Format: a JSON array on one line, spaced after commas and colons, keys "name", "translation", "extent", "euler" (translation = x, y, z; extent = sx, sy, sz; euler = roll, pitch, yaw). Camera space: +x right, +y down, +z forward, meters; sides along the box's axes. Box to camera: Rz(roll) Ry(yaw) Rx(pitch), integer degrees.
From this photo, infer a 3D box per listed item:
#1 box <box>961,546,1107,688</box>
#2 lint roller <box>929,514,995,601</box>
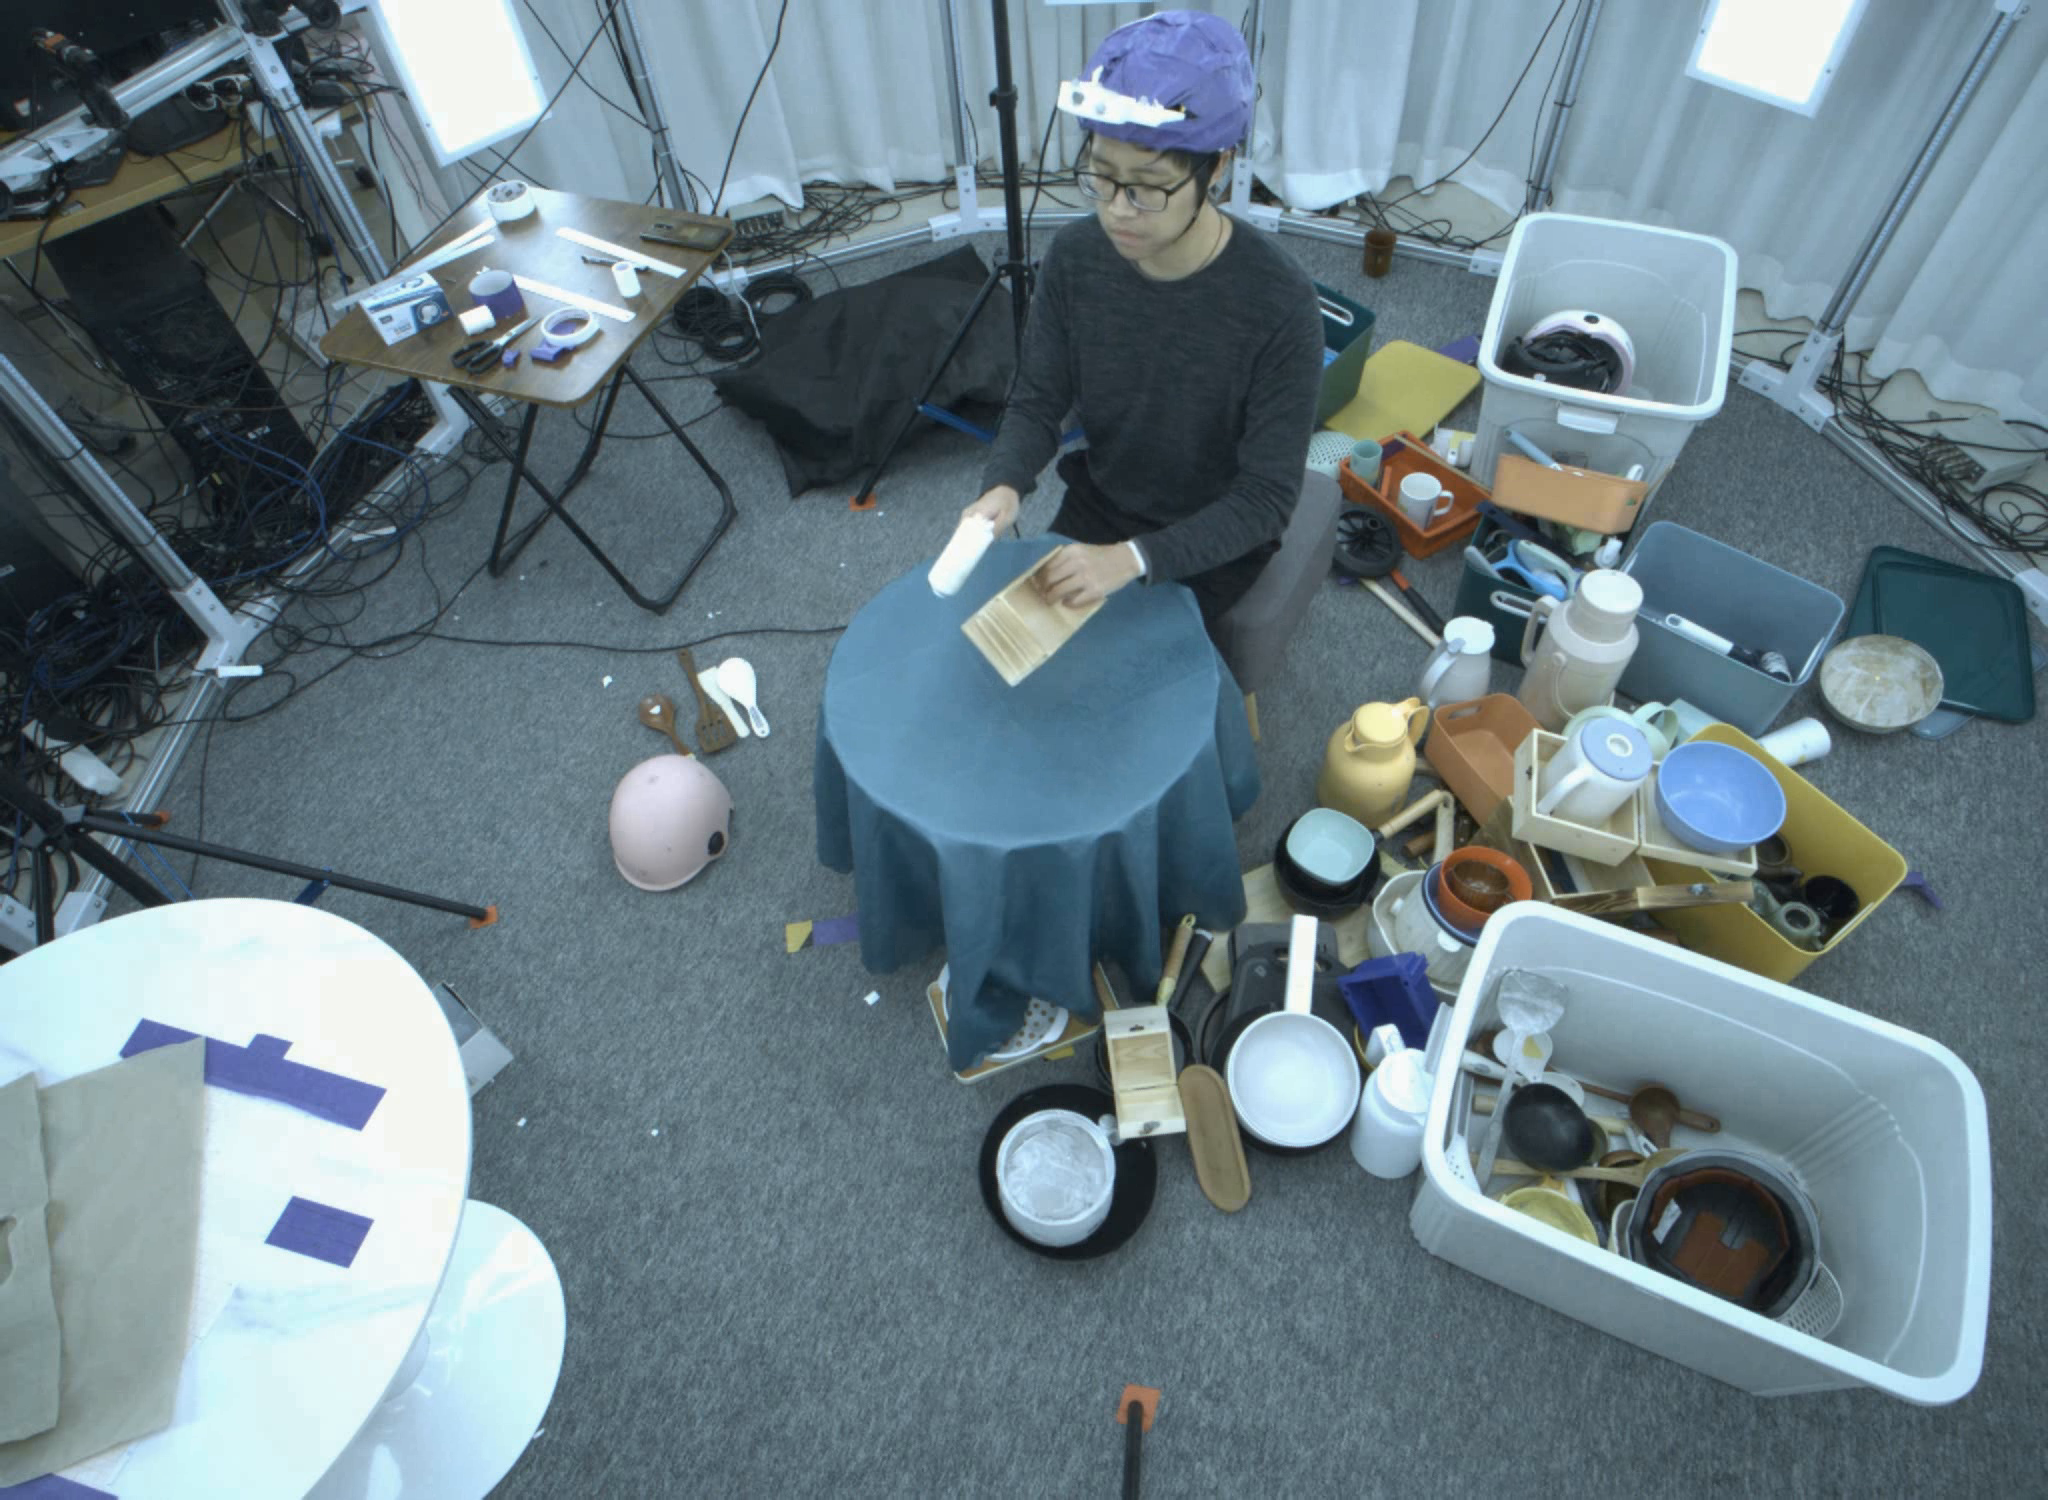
[{"name": "box", "translation": [0.017, -0.185, 1.686], "extent": [0.108, 0.079, 0.212], "euler": [49, 37, -6]}, {"name": "lint roller", "translation": [-0.077, -0.295, 1.719], "extent": [0.050, 0.132, 0.180], "euler": [29, 33, -10]}]
